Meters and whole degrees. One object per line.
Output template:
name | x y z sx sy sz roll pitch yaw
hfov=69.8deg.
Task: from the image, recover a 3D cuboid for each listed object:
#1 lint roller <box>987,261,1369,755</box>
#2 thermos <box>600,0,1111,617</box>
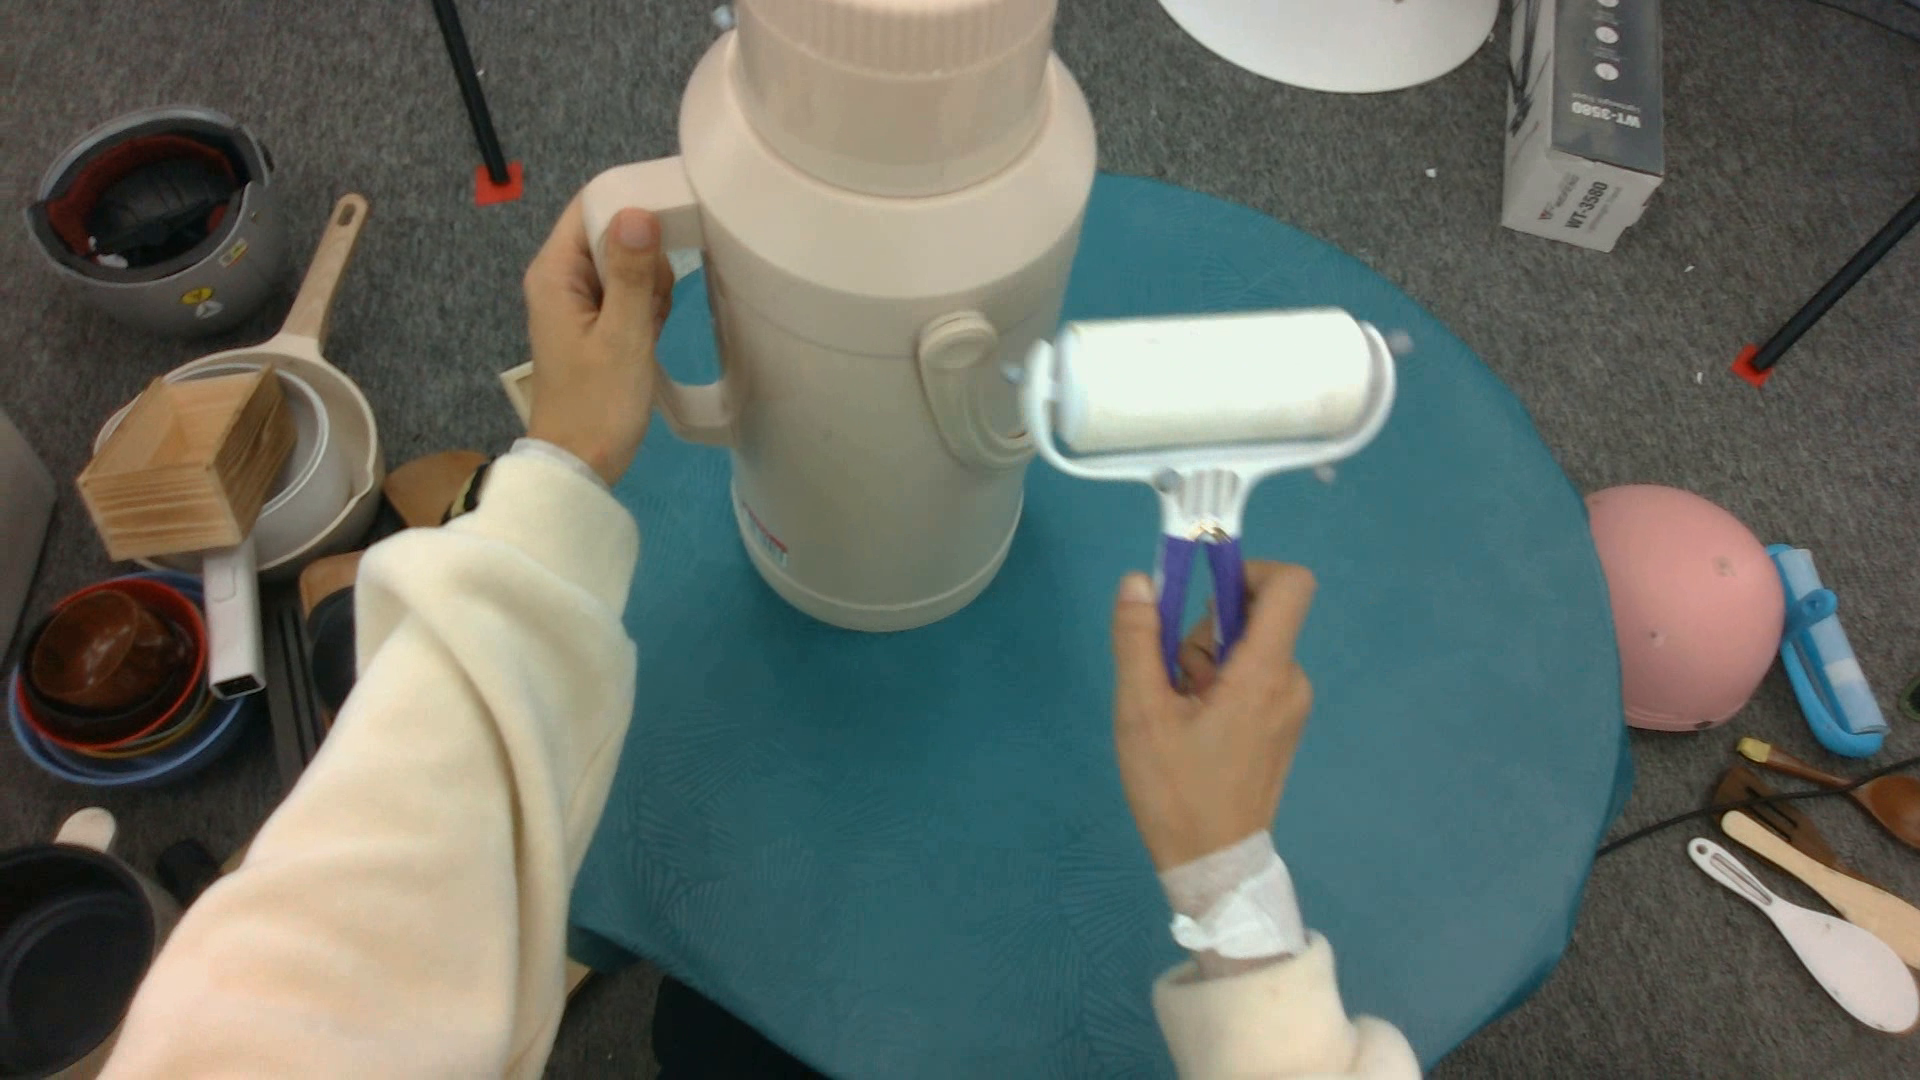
lint roller | 0.079 -0.005 0.488 0.133 0.050 0.180 -5 99 -10
thermos | -0.041 -0.115 0.603 0.207 0.404 0.176 -15 66 -12
